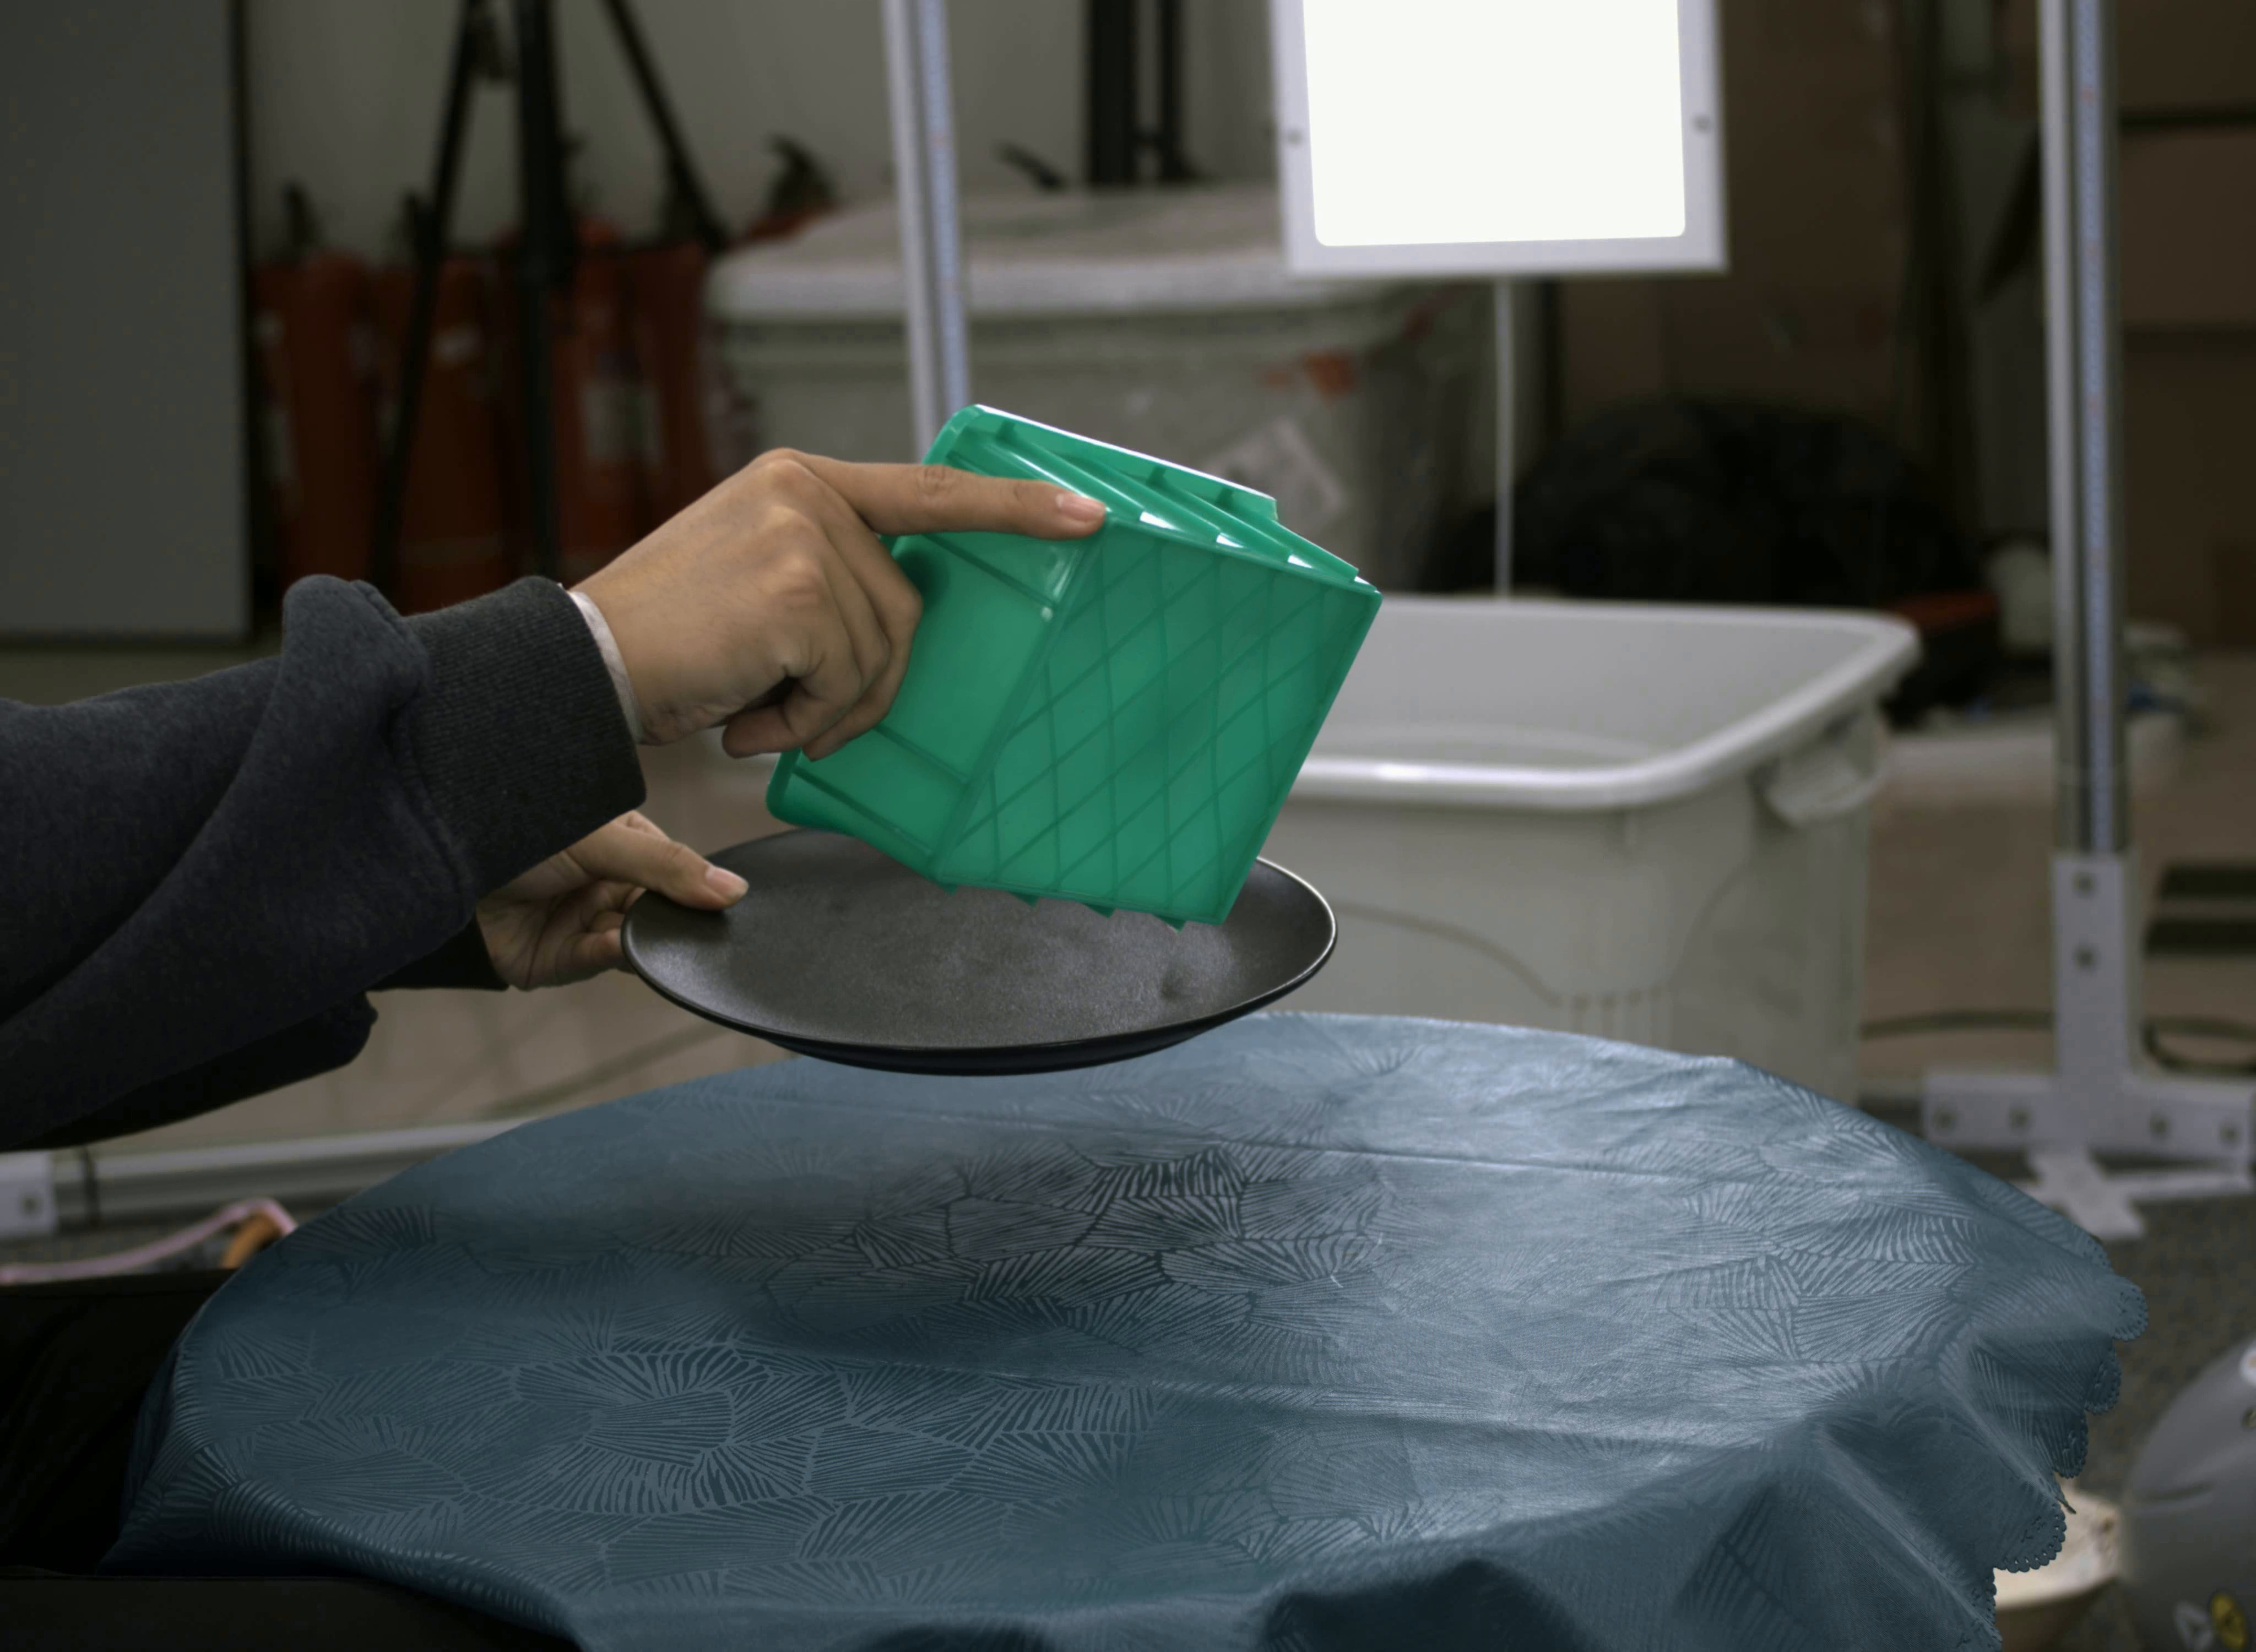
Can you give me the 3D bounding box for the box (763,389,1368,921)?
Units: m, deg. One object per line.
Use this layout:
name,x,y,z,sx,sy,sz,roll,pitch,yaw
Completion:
box,-0.012,-0.044,1.666,0.066,0.139,0.206,29,8,27

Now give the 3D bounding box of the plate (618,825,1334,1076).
plate,-0.051,0.043,1.868,0.243,0.023,0.244,-1,19,-1
